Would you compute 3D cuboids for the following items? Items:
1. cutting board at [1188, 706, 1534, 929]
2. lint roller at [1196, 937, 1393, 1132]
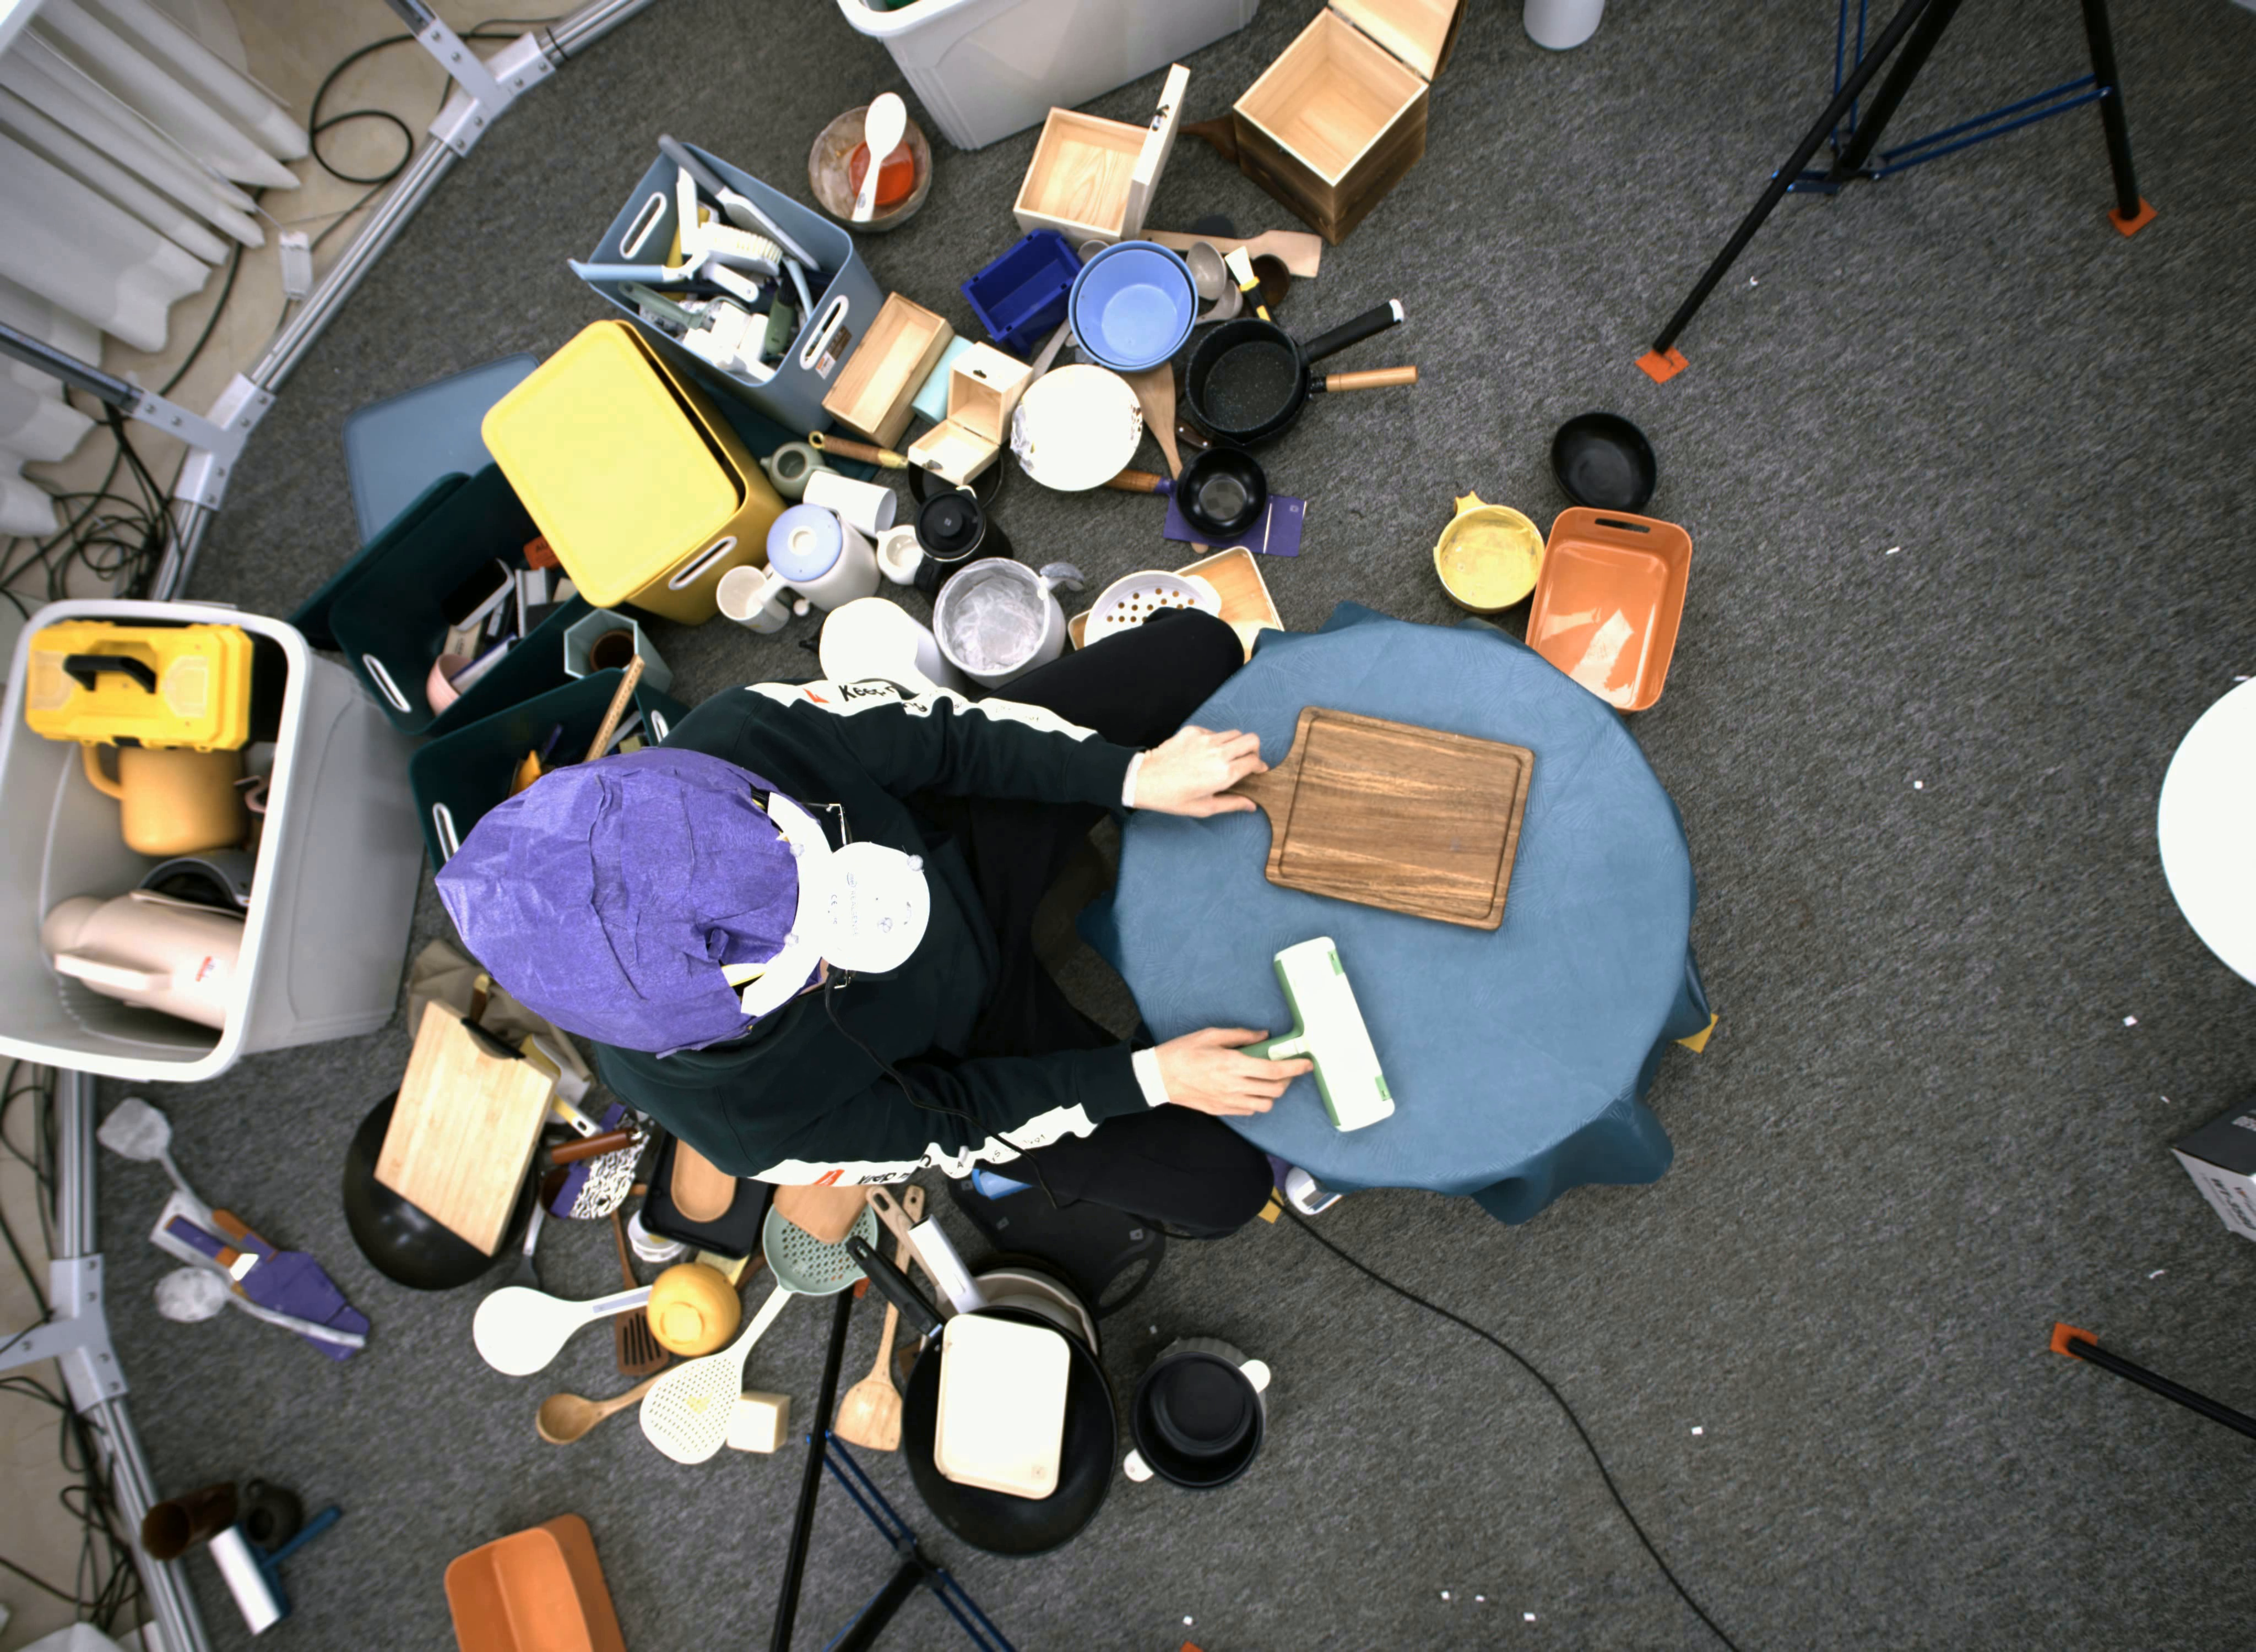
[{"bbox_3d":[0.237,-0.020,1.455,0.353,0.023,0.200,11,89,11],"label":"cutting board"},{"bbox_3d":[0.155,0.232,1.429,0.184,0.082,0.197,-20,84,4],"label":"lint roller"}]
